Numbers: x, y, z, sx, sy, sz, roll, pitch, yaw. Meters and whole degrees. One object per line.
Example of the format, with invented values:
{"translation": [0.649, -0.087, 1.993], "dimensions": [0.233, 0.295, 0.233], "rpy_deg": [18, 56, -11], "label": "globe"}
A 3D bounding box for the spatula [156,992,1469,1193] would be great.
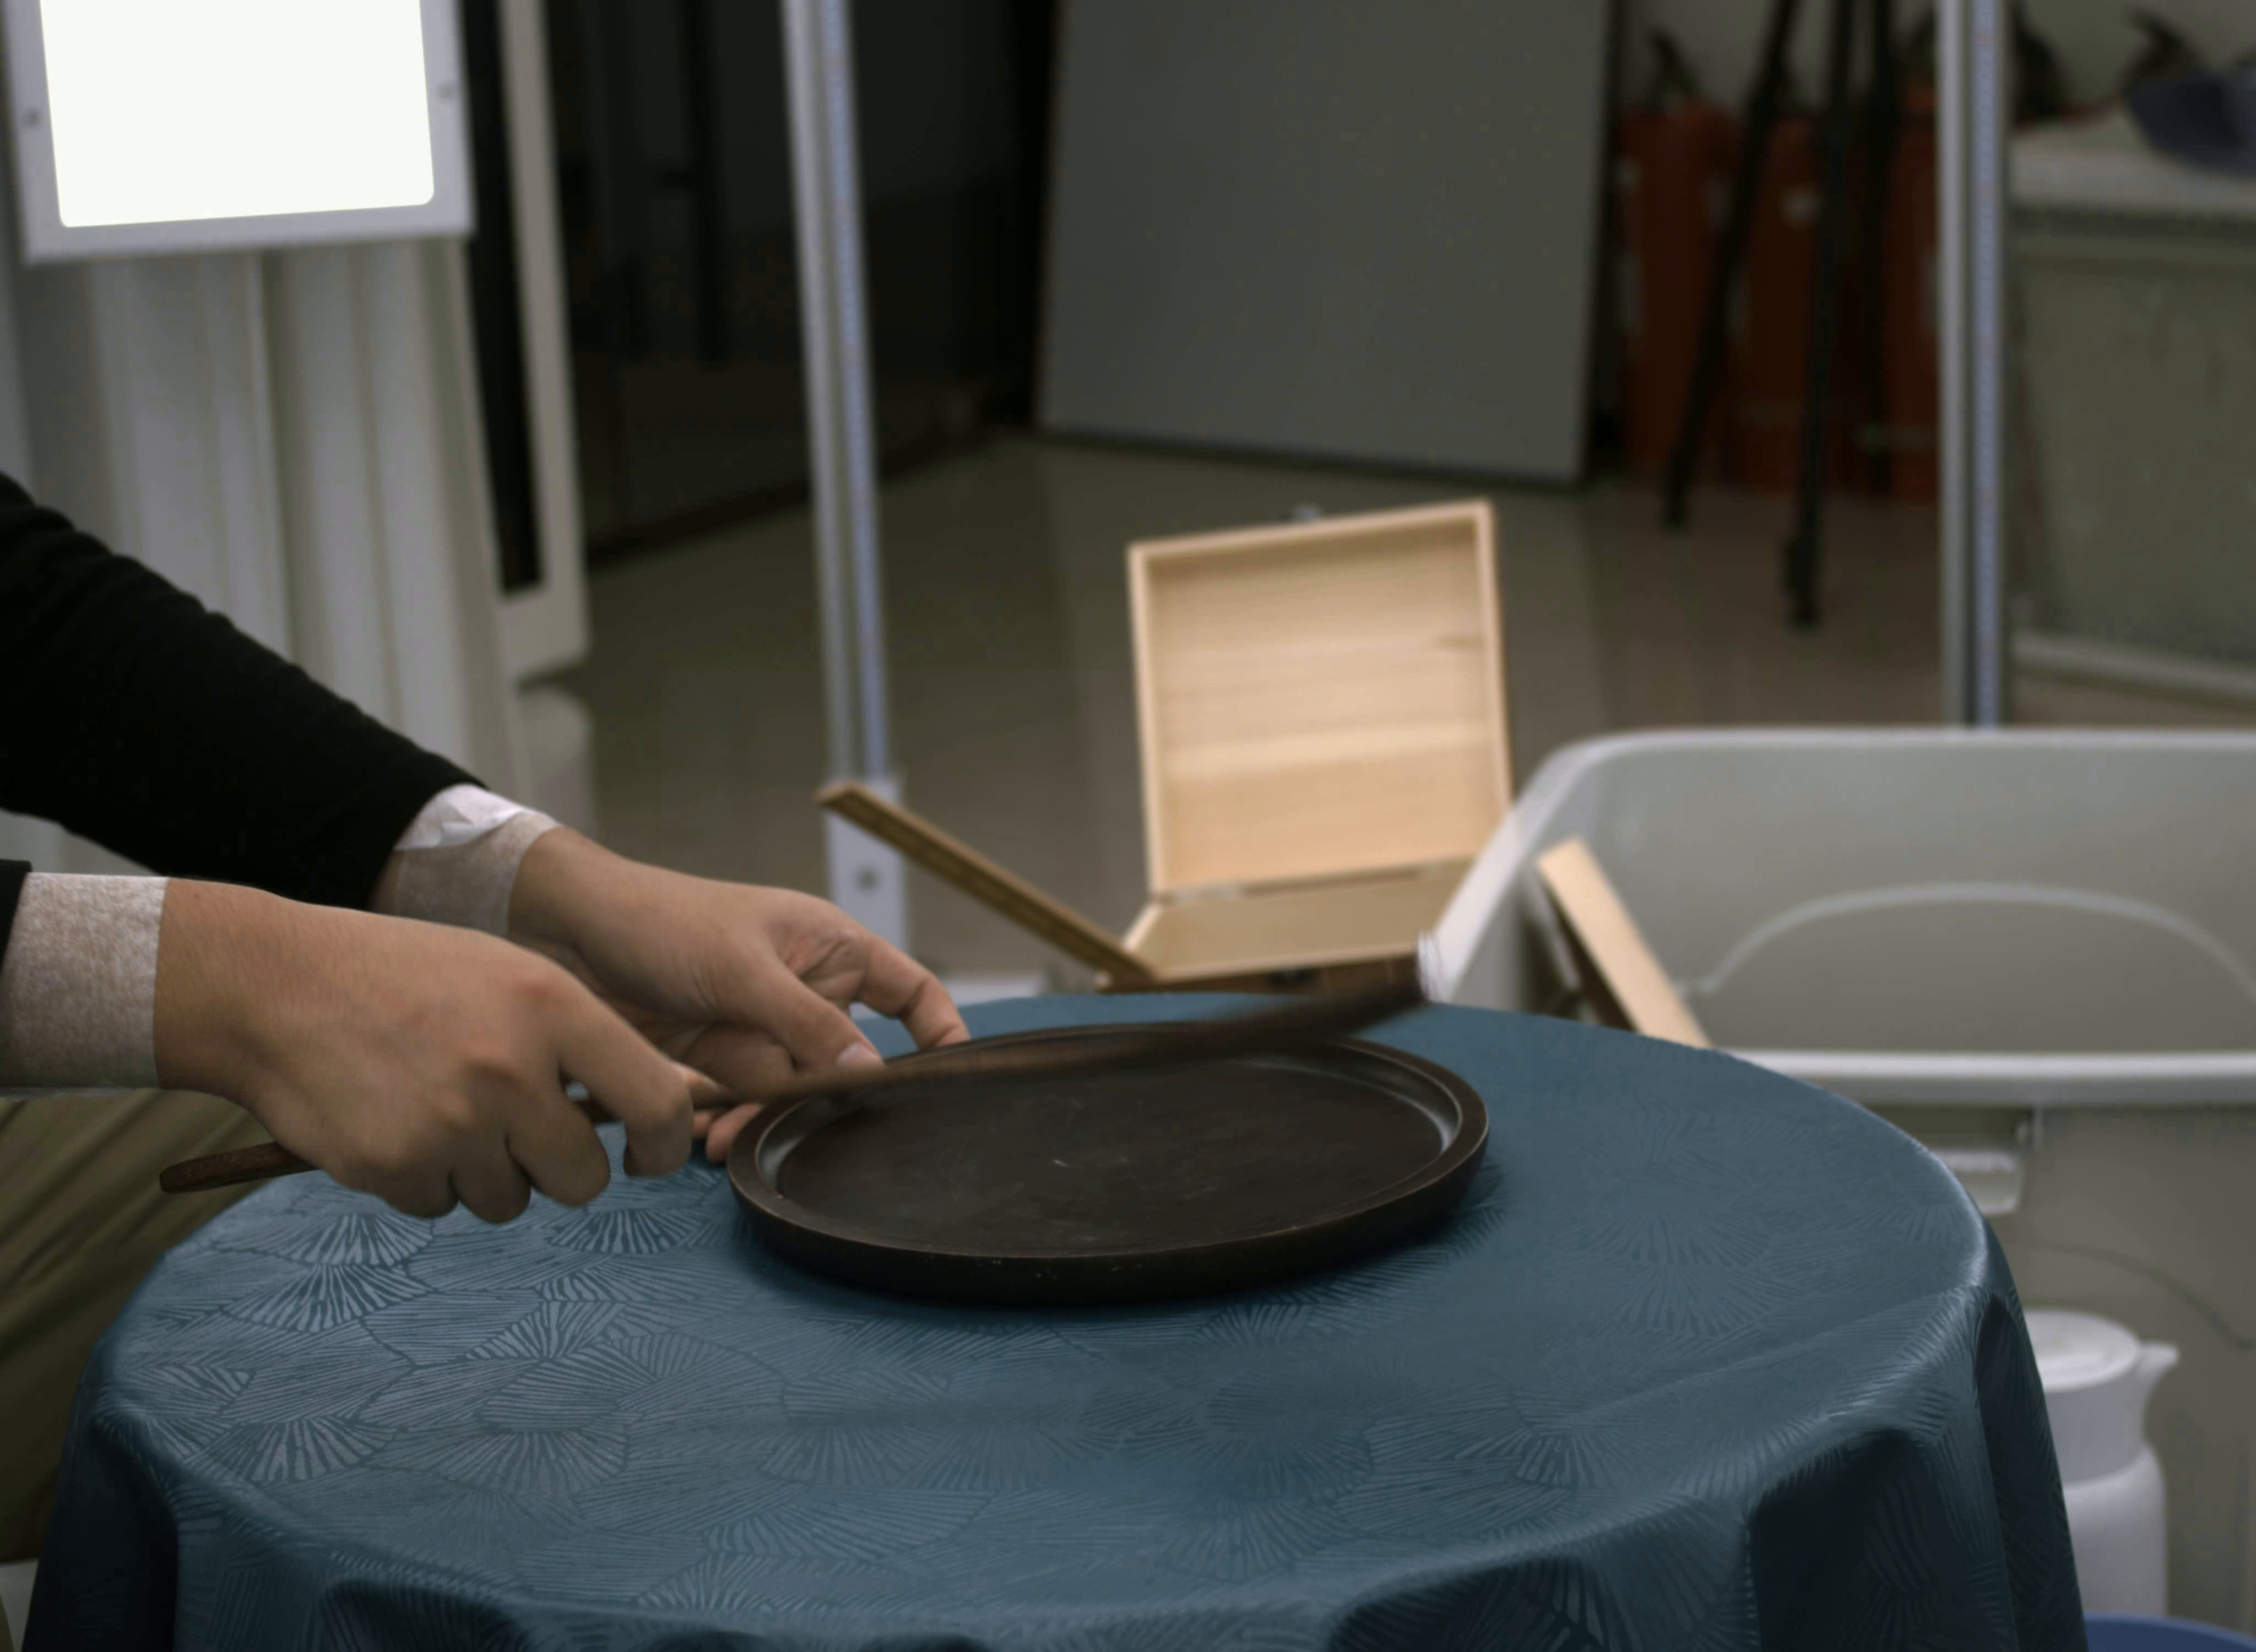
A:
{"translation": [-0.090, 0.078, 1.562], "dimensions": [0.381, 0.016, 0.096], "rpy_deg": [-6, -6, 0], "label": "spatula"}

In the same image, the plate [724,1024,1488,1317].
{"translation": [-0.007, 0.111, 1.766], "dimensions": [0.251, 0.029, 0.255], "rpy_deg": [-4, 15, 0], "label": "plate"}
